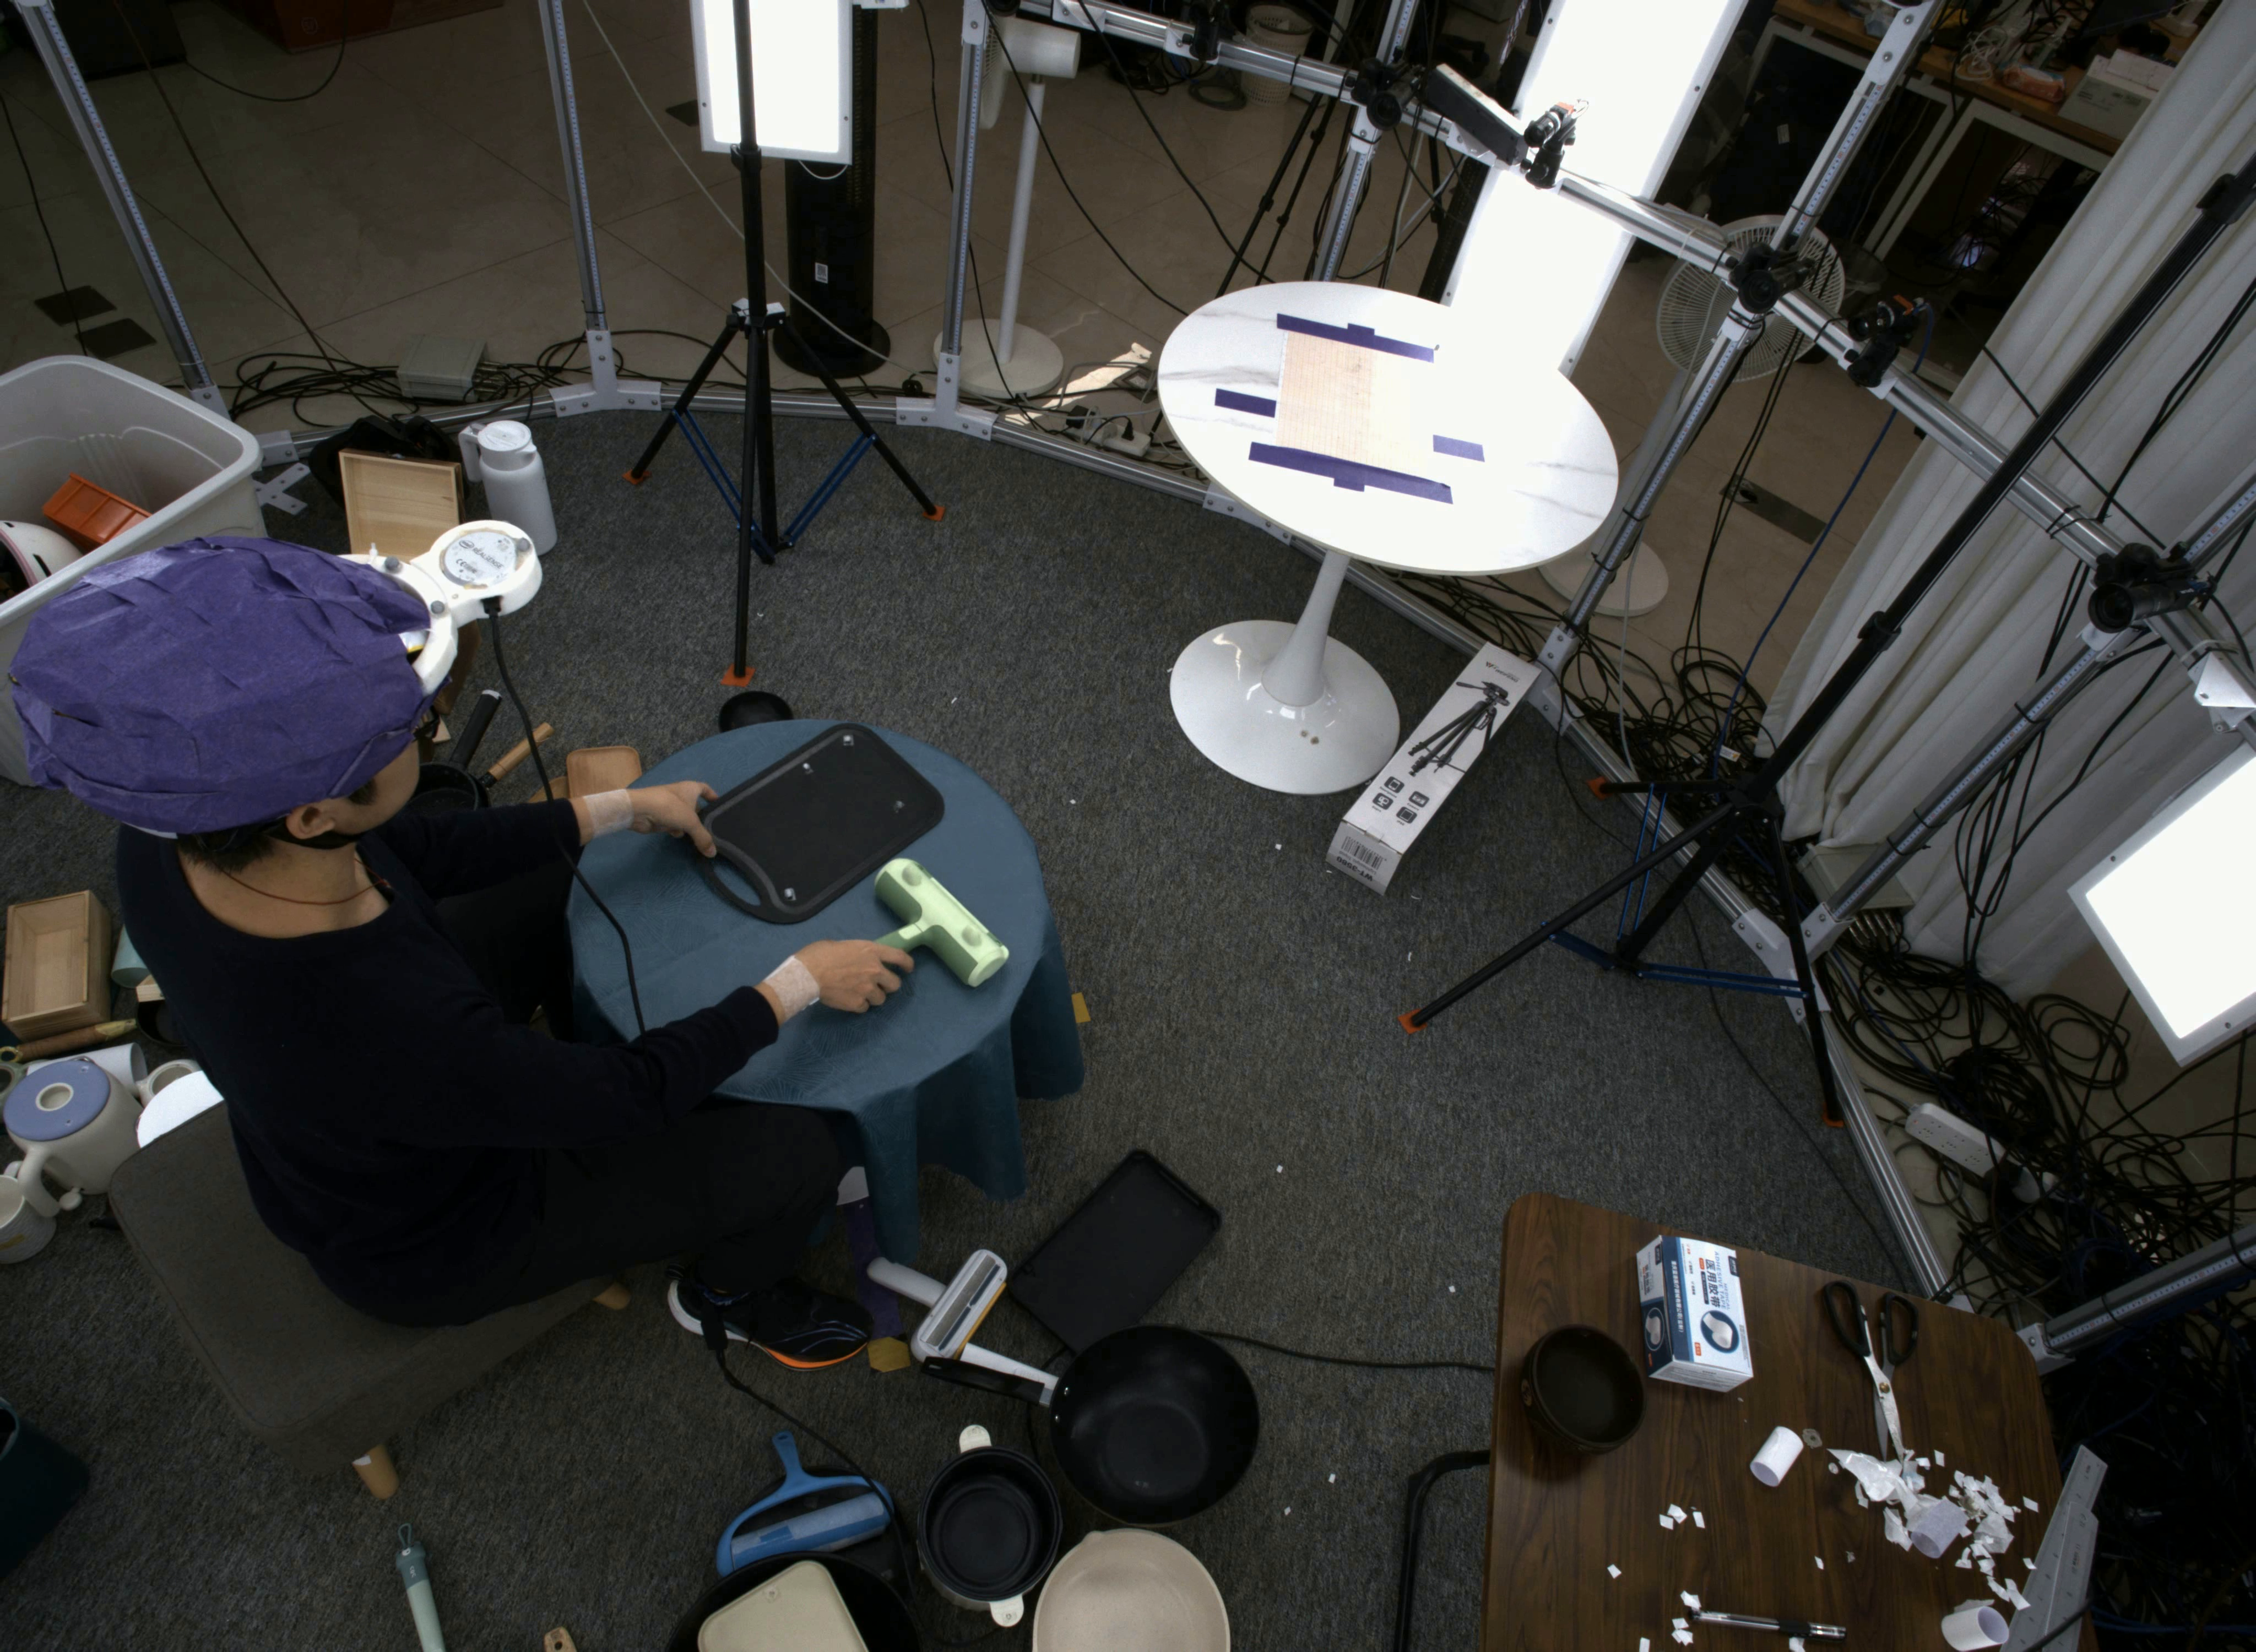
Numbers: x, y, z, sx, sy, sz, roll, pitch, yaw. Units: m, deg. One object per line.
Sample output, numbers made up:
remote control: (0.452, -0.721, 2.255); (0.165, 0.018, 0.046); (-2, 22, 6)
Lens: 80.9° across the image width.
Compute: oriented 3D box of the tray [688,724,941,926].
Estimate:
tray: (-0.413, -0.006, 1.706); (0.208, 0.010, 0.326); (42, 54, 11)

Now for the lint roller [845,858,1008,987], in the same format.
lint roller: (-0.269, 0.126, 1.593); (0.194, 0.083, 0.185); (41, 34, 17)
